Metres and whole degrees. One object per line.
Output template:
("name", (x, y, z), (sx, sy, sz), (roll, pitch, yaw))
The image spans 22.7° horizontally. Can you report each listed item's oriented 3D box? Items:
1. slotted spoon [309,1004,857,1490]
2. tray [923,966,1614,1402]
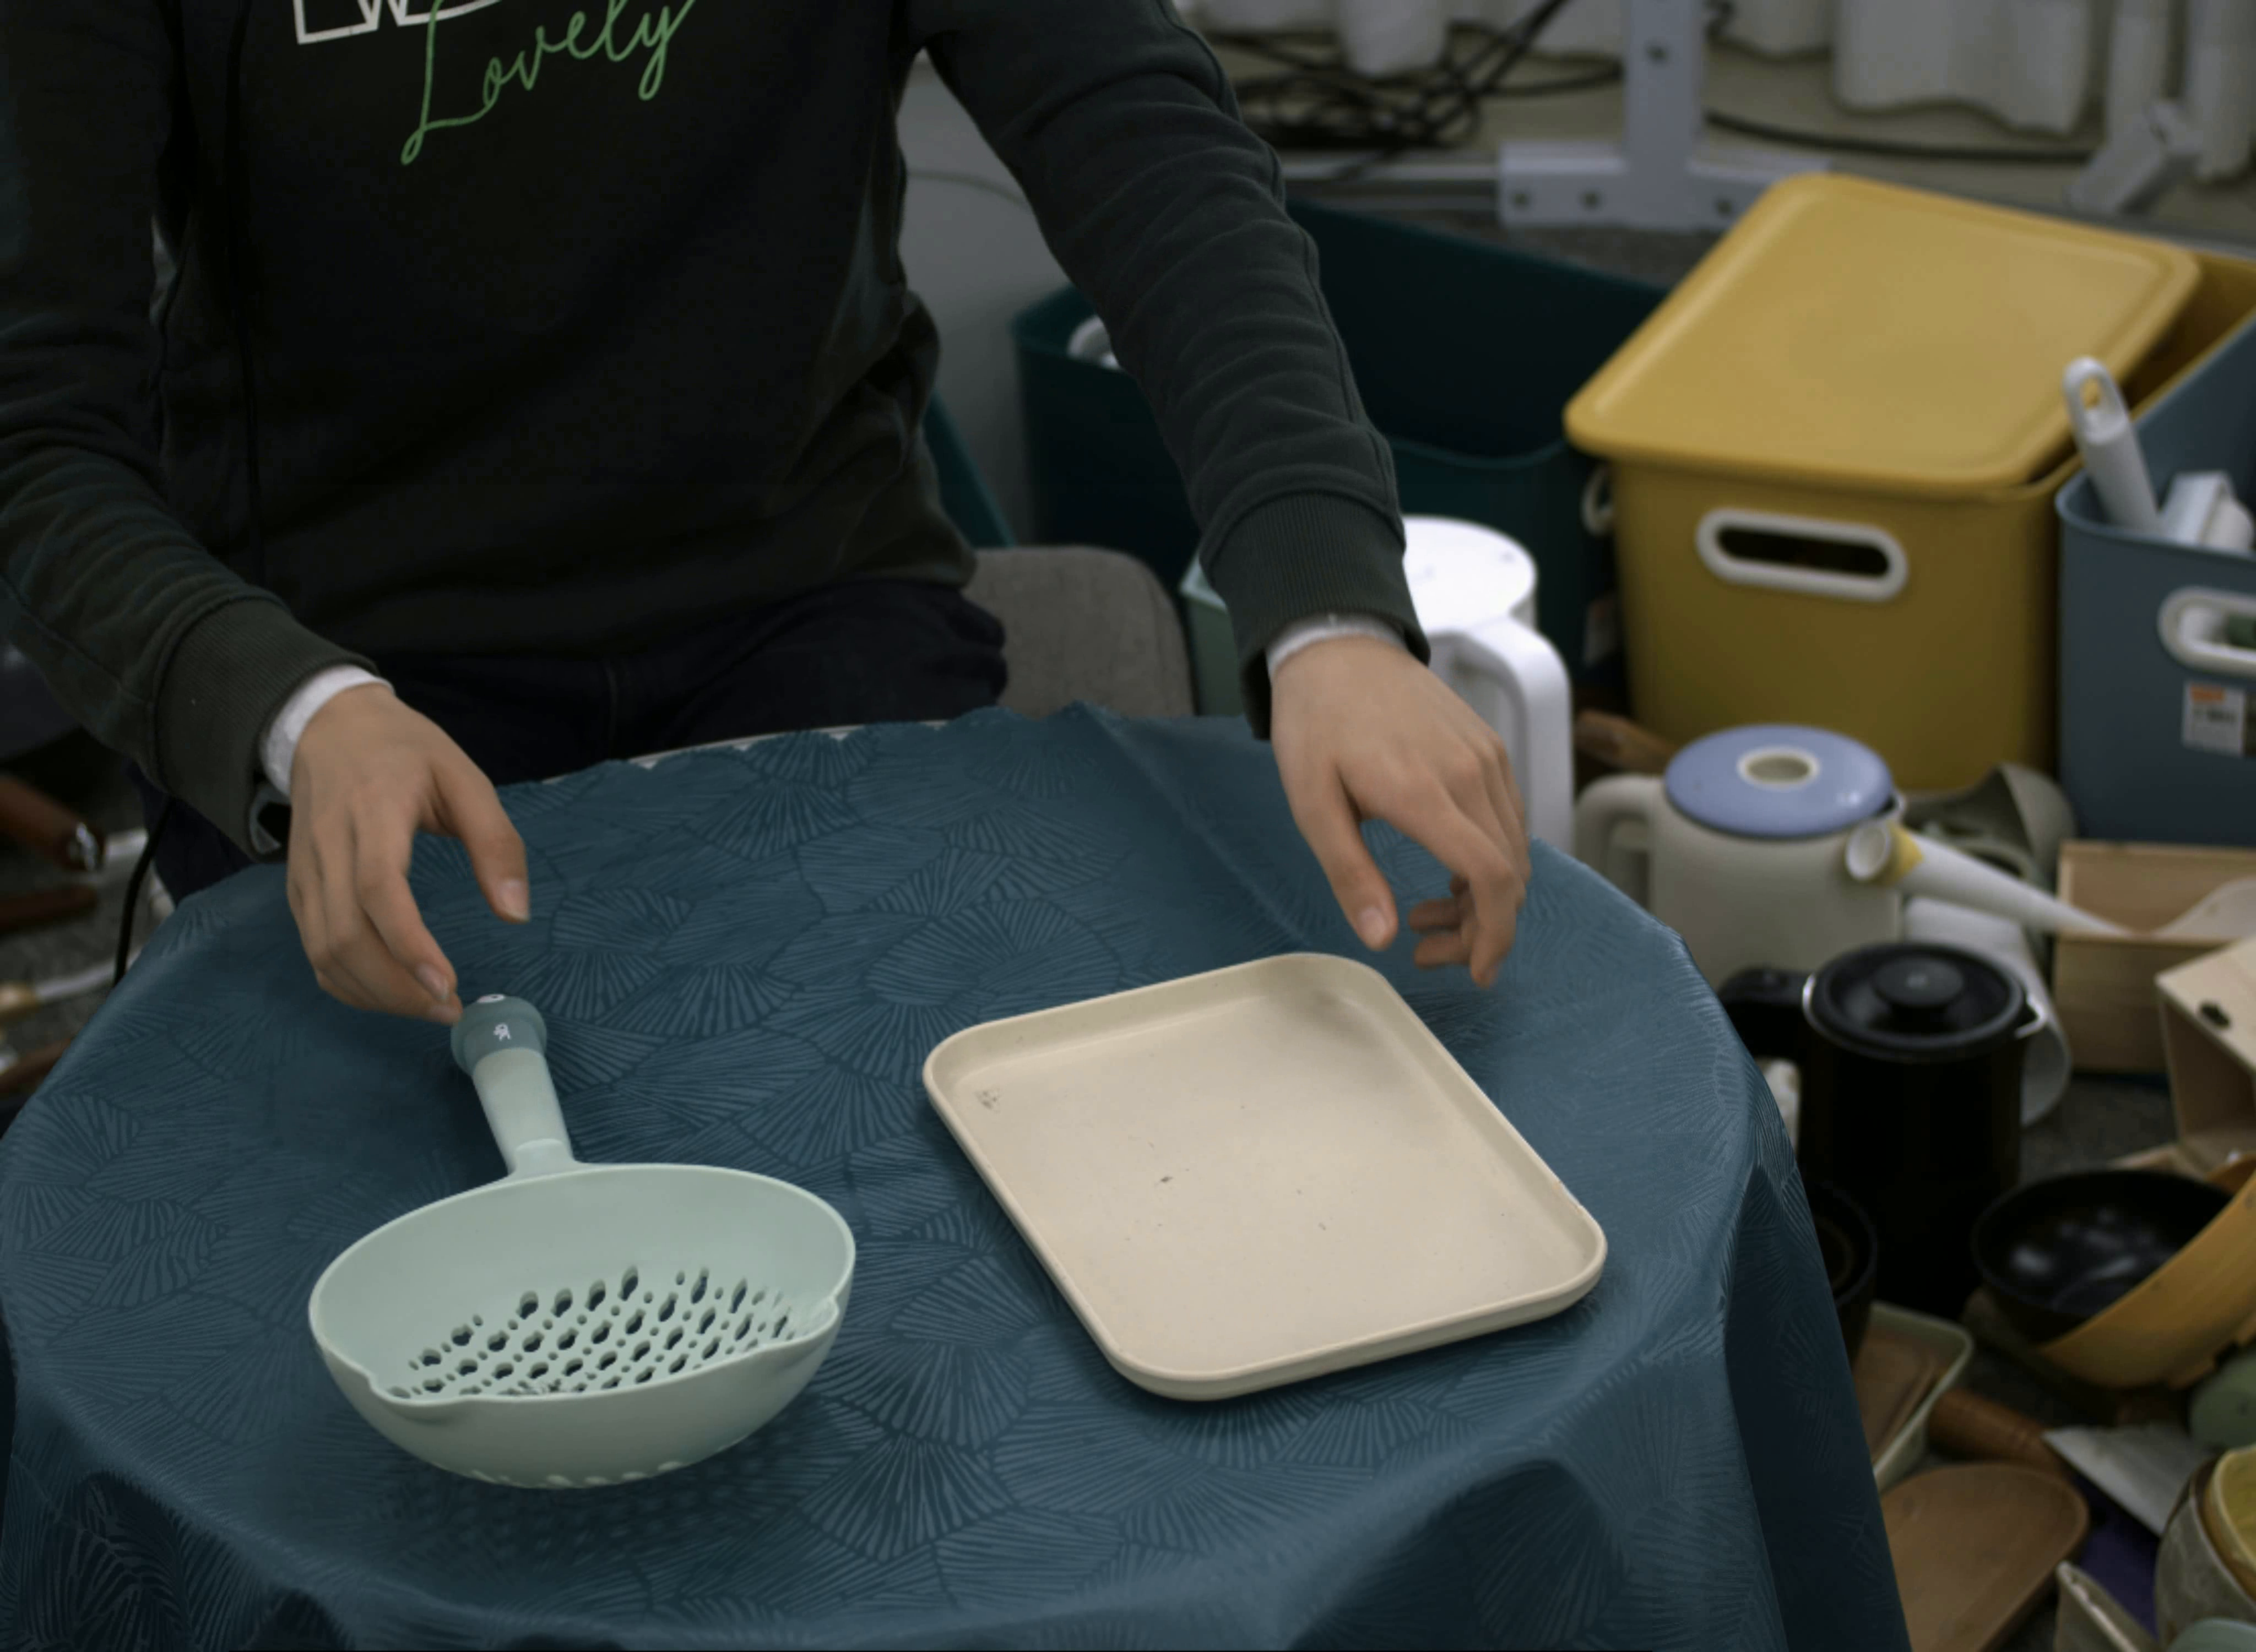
("slotted spoon", (-0.186, 0.120, 1.816), (0.169, 0.074, 0.363), (-8, 27, -10))
("tray", (0.043, 0.116, 1.850), (0.171, 0.017, 0.241), (-12, 28, -17))
